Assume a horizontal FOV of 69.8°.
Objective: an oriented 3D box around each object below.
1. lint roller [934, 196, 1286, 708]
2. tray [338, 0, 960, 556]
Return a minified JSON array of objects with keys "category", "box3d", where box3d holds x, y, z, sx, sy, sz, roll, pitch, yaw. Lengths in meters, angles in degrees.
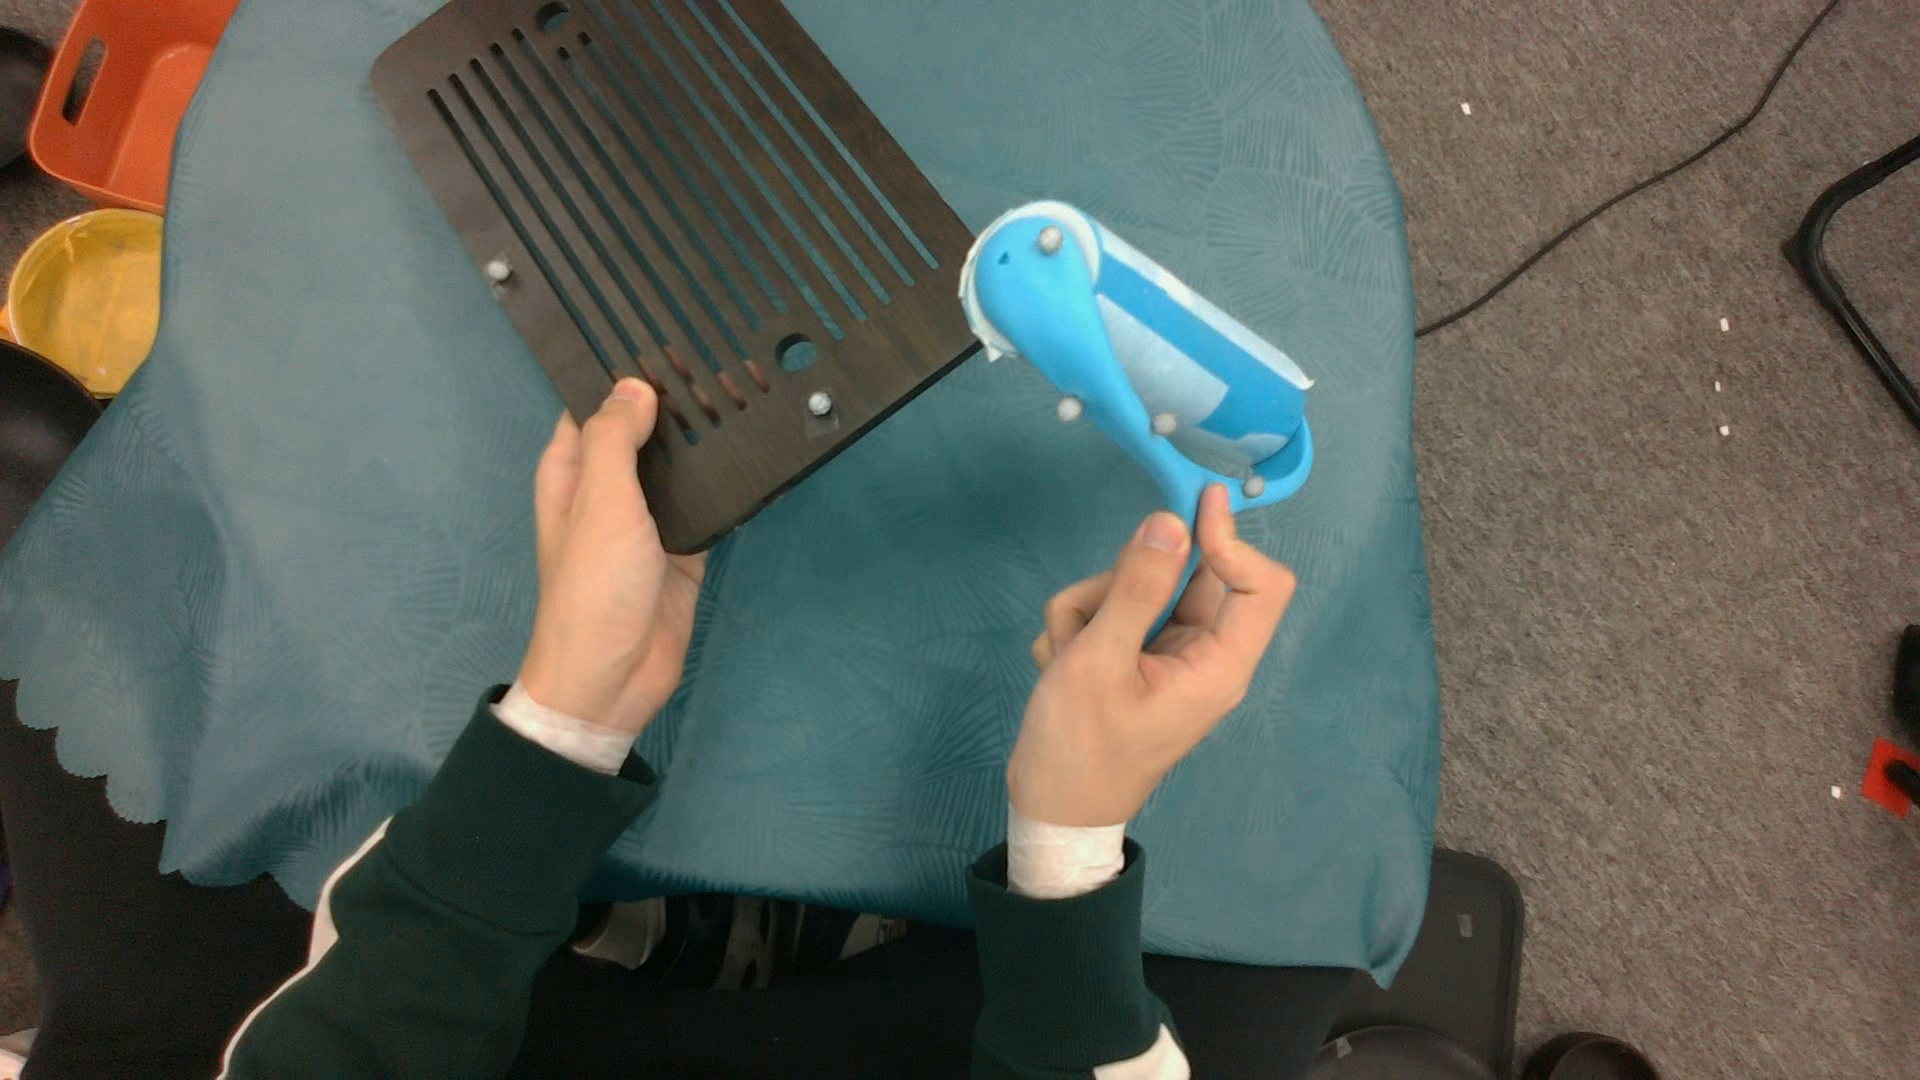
[{"category":"lint roller","box3d":[0.061,-0.021,0.541,0.068,0.229,0.180,4,88,33]},{"category":"tray","box3d":[-0.134,-0.148,0.580,0.170,0.018,0.306,-38,67,-1]}]
